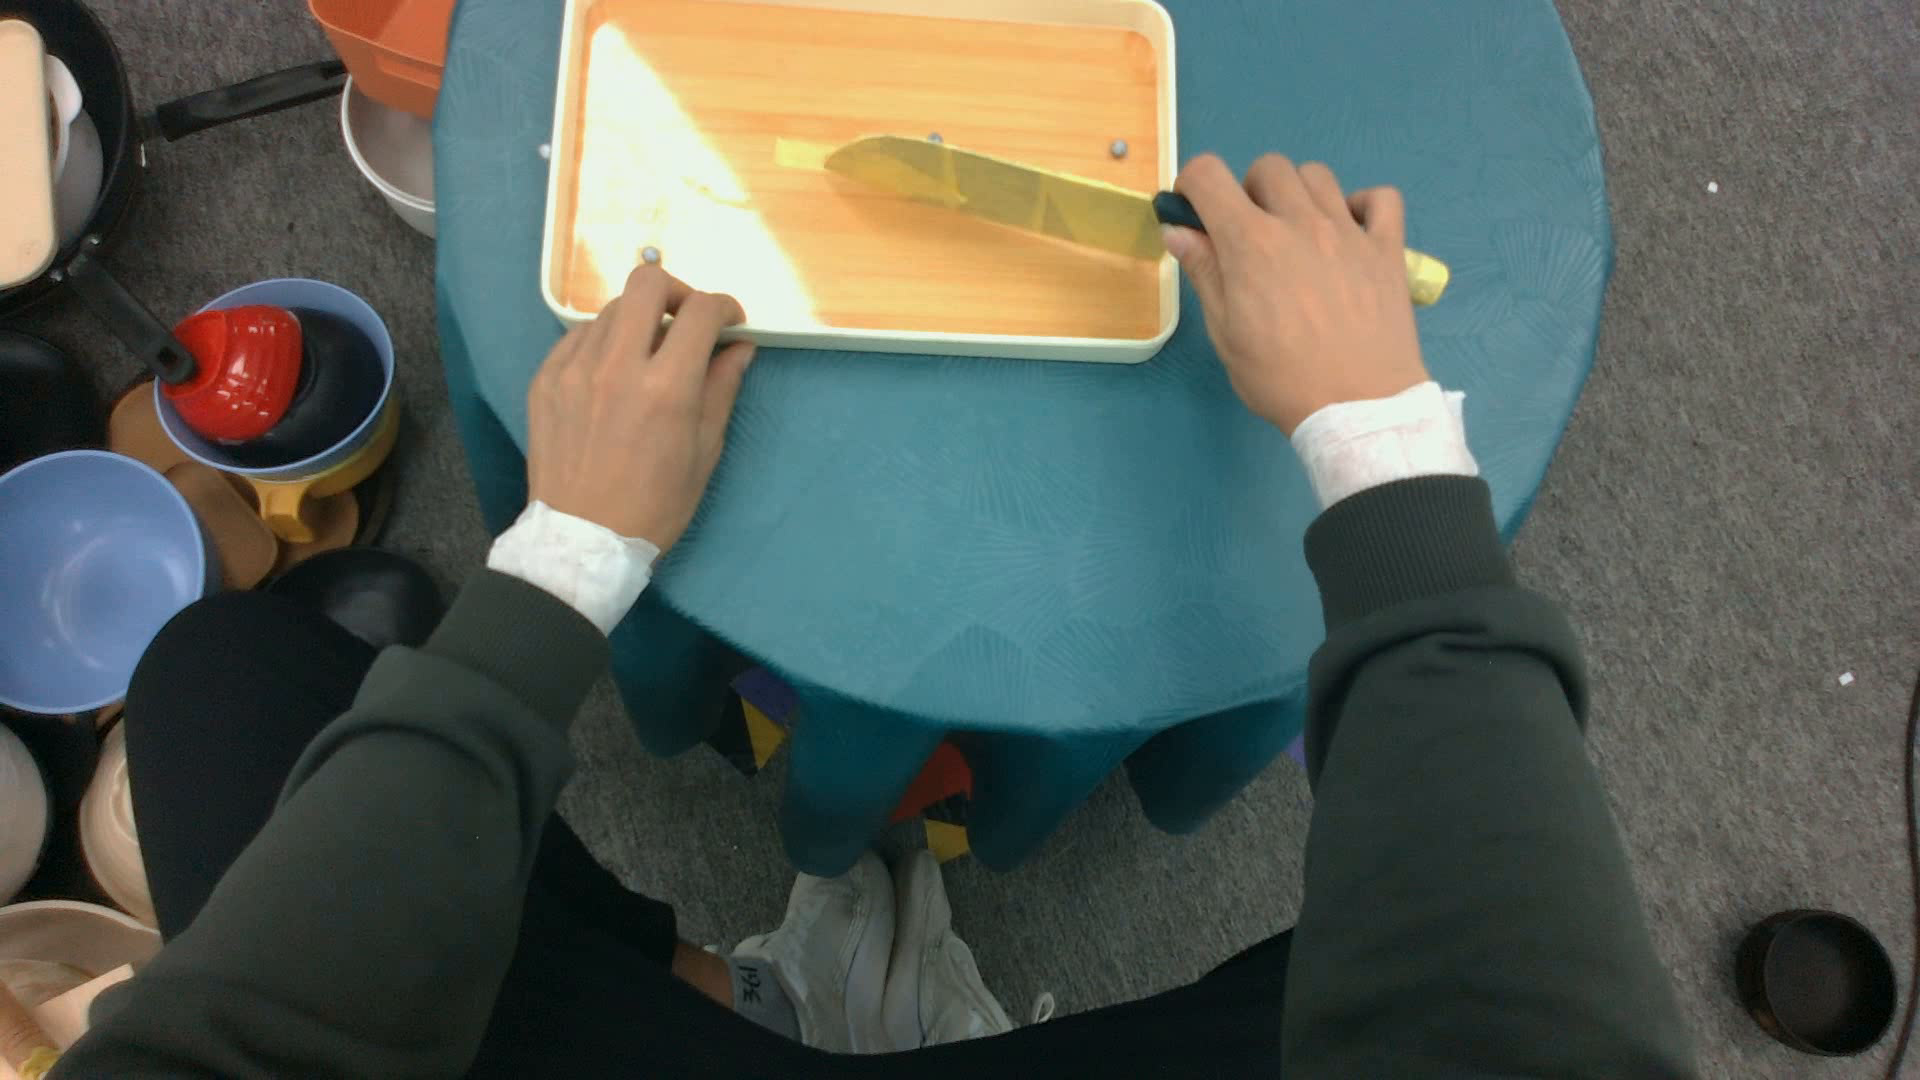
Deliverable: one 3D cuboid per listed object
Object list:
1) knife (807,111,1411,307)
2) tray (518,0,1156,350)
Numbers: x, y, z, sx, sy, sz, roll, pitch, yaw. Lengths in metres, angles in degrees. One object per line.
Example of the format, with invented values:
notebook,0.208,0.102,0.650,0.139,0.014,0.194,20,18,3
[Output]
knife,0.065,-0.155,0.643,0.289,0.081,0.027,17,84,4
tray,-0.055,-0.191,0.675,0.300,0.027,0.192,2,77,-6
